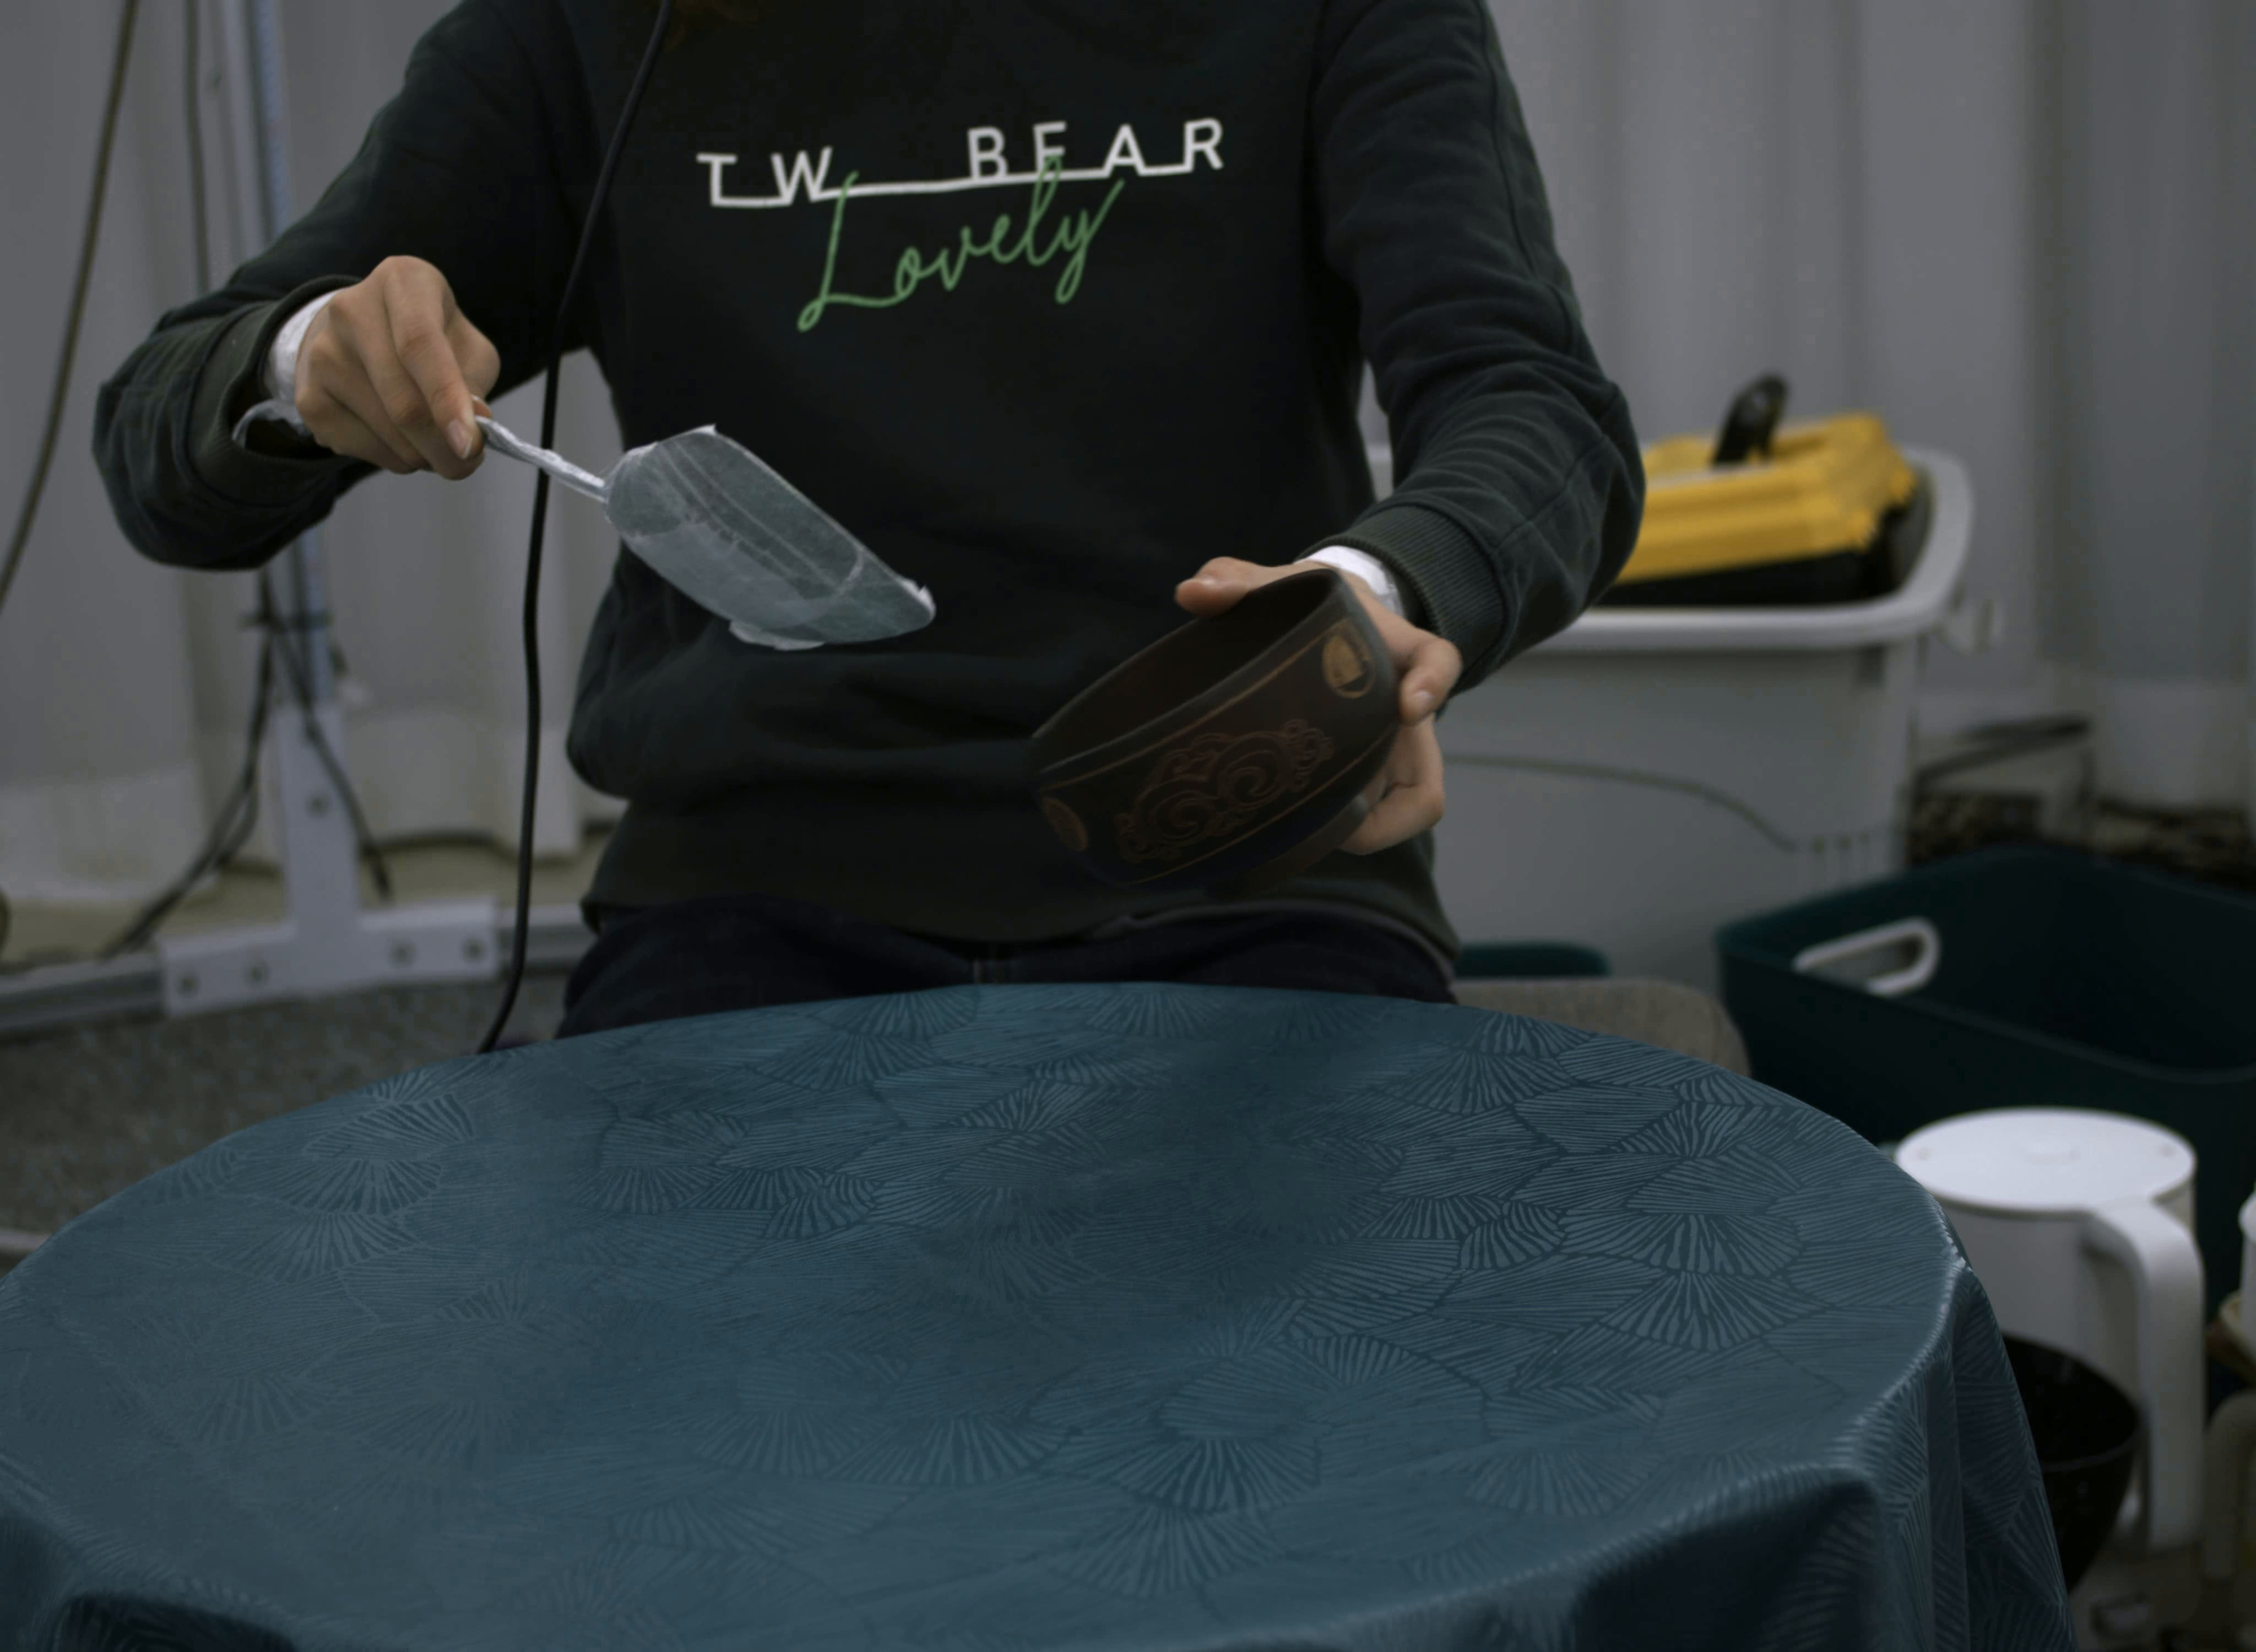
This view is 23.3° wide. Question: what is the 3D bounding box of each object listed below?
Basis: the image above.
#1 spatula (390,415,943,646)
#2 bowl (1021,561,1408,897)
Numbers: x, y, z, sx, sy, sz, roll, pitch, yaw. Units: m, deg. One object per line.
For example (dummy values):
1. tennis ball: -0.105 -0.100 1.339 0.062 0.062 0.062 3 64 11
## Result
1. spatula: -0.168 -0.110 1.740 0.097 0.045 0.368 39 -5 -28
2. bowl: 0.033 -0.022 1.667 0.118 0.069 0.119 -29 11 6
